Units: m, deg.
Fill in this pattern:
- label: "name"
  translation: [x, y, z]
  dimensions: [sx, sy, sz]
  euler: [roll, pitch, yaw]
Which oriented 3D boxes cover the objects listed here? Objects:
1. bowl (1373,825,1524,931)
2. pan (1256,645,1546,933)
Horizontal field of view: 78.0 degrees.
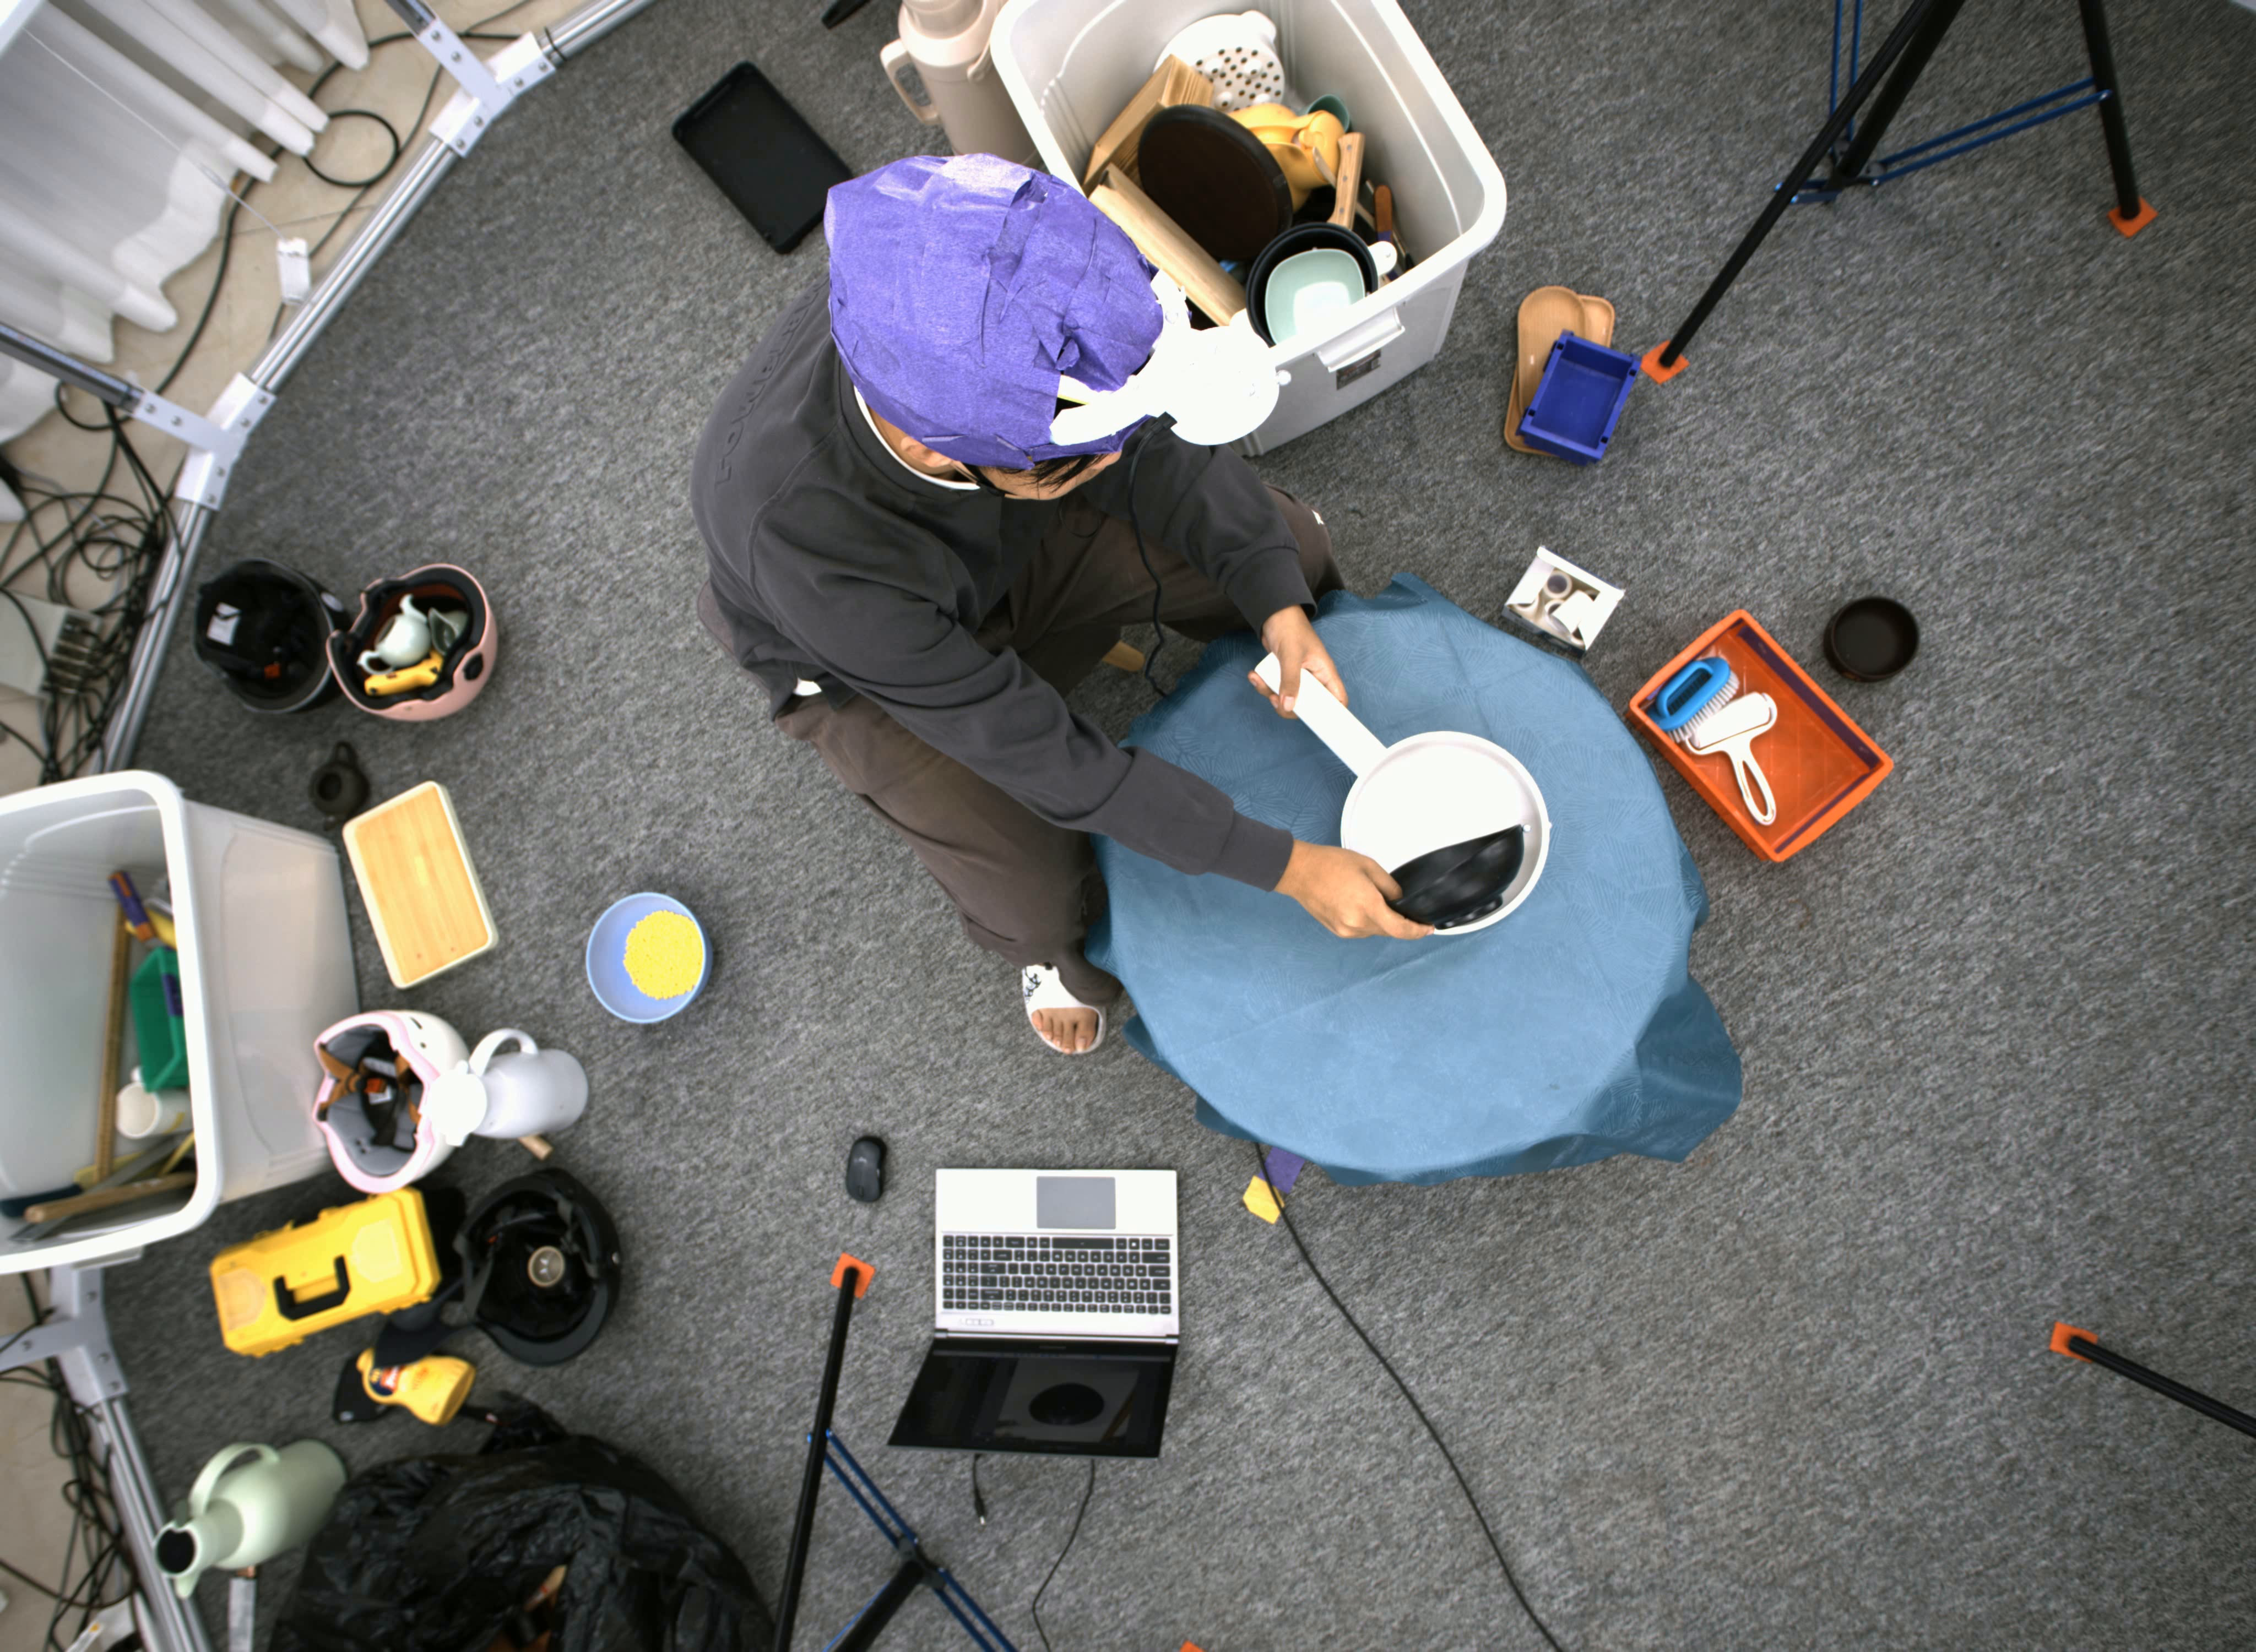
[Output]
- label: "bowl"
  translation: [0.314, 0.054, 1.309]
  dimensions: [0.139, 0.167, 0.067]
  euler: [-24, 91, 53]
- label: "pan"
  translation: [0.270, -0.045, 1.423]
  dimensions: [0.202, 0.102, 0.352]
  euler: [-45, 77, 7]
